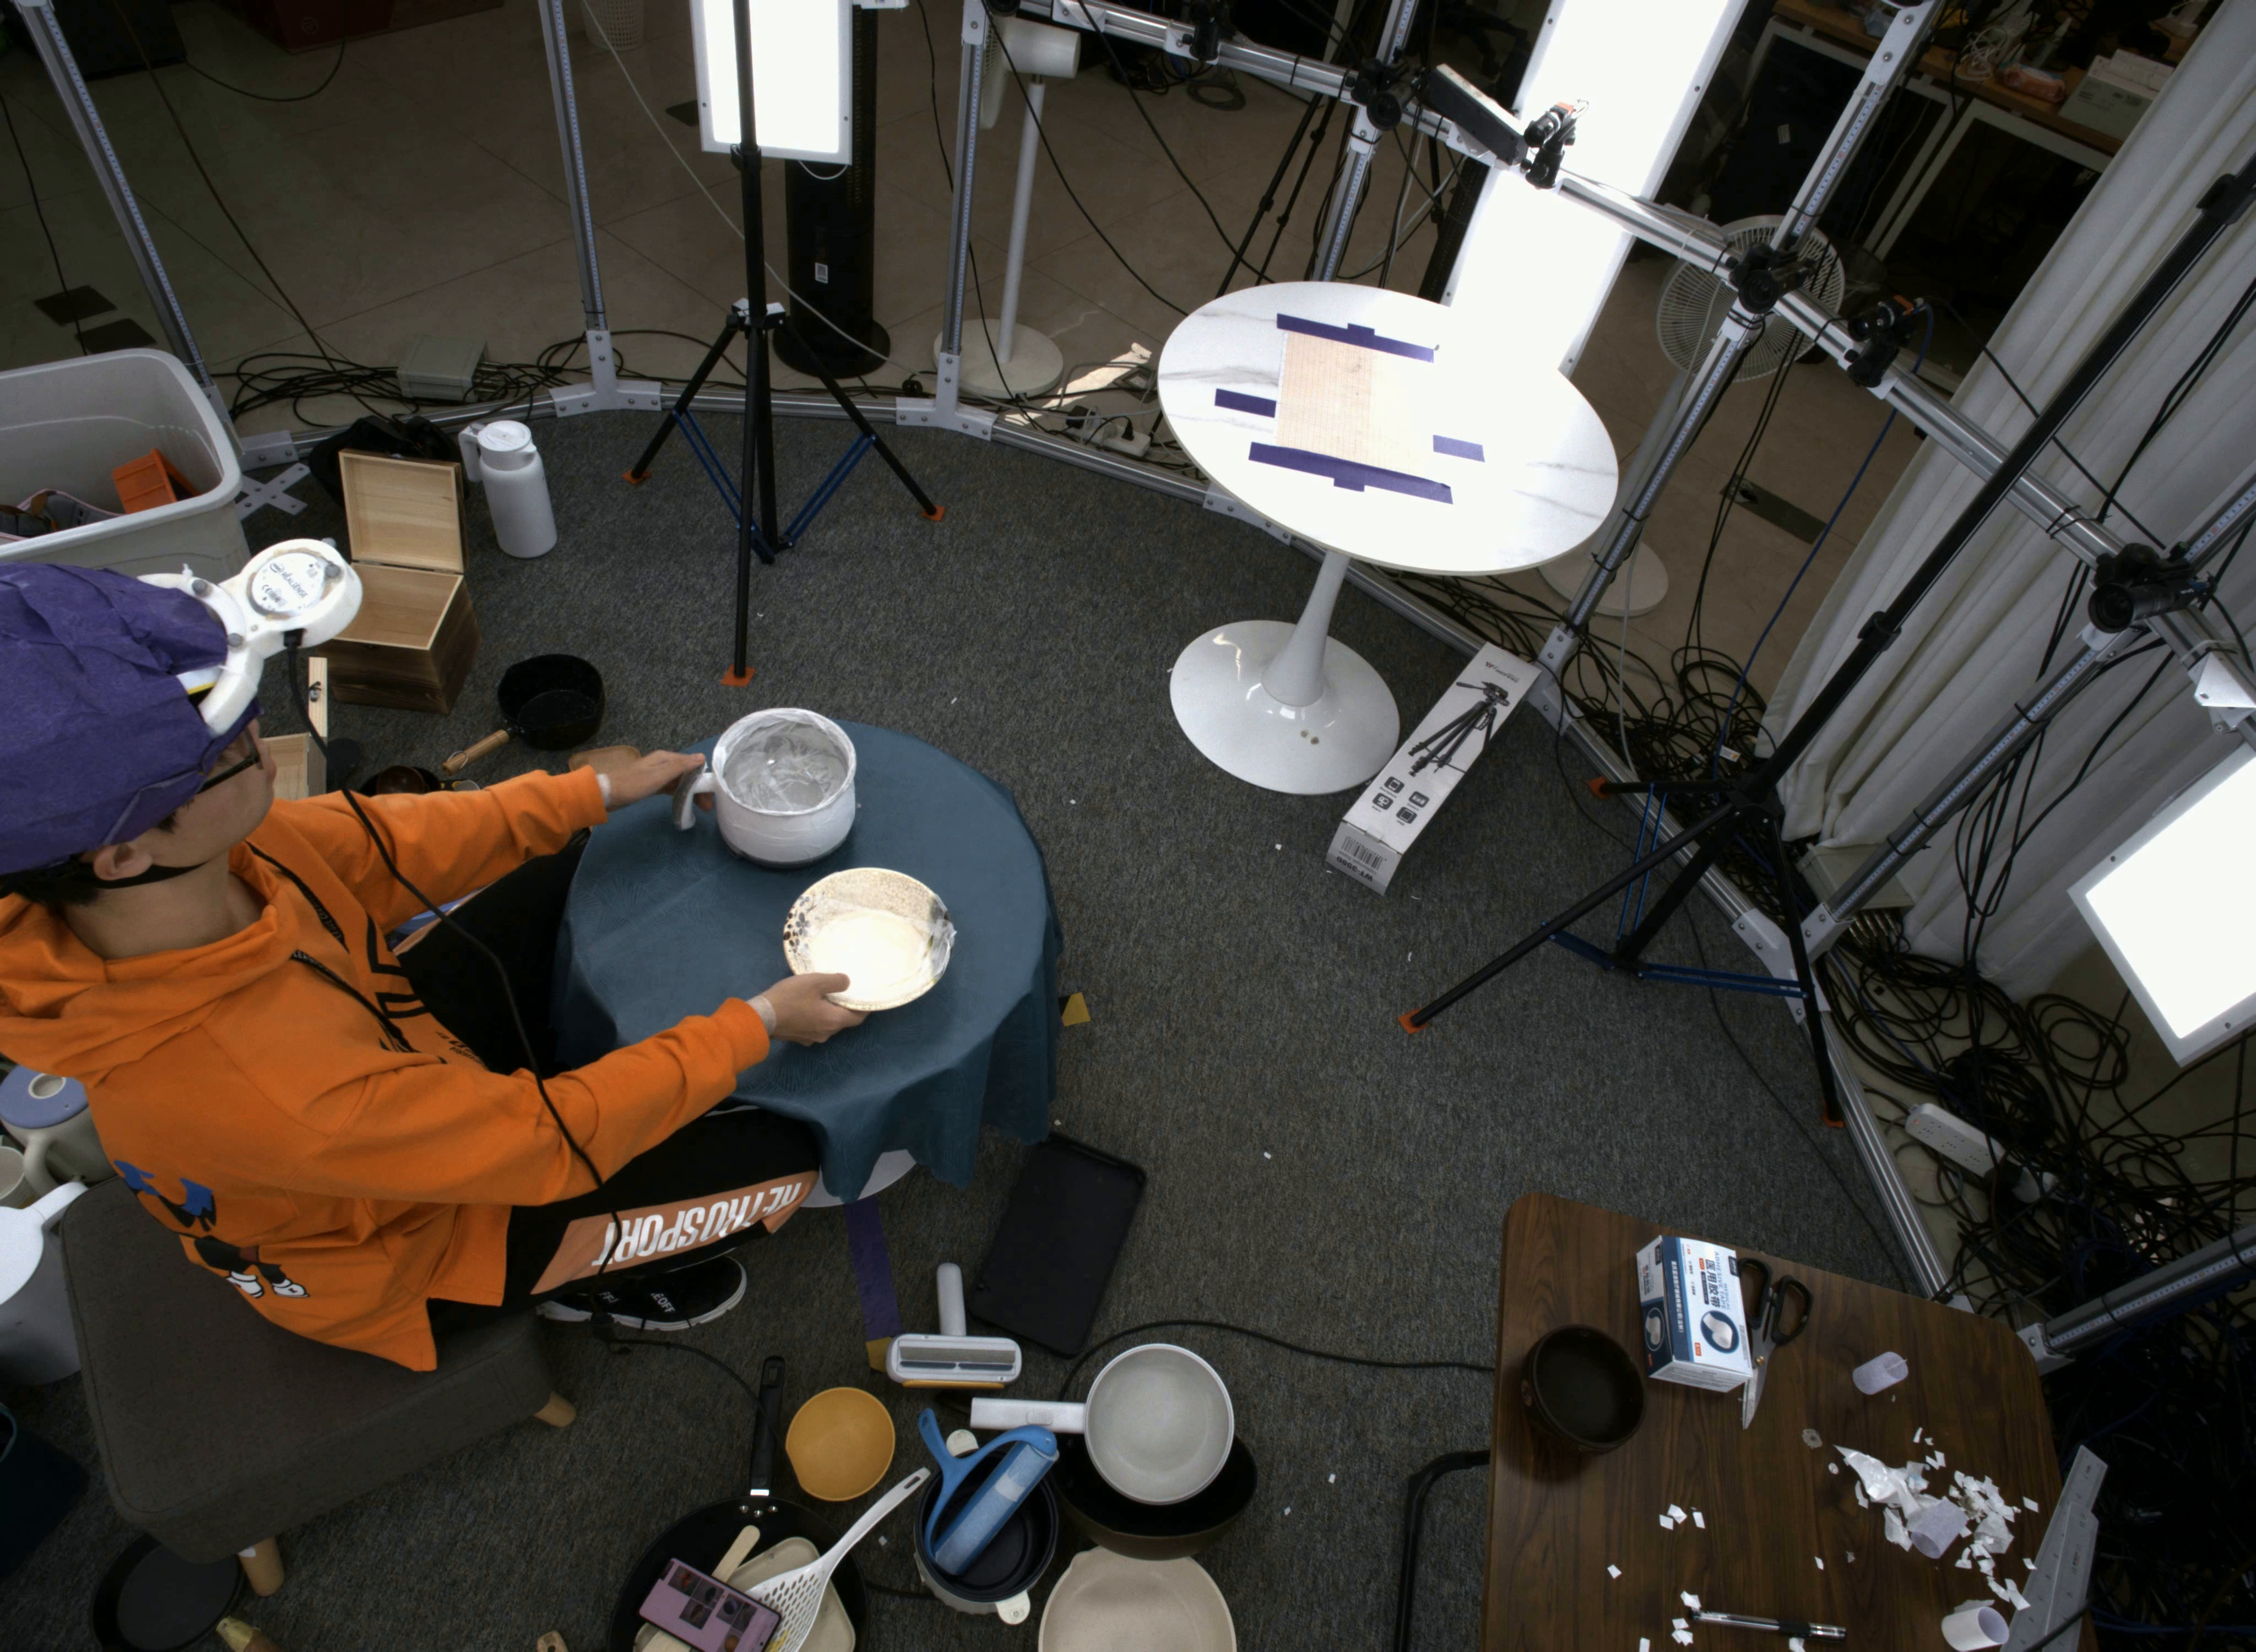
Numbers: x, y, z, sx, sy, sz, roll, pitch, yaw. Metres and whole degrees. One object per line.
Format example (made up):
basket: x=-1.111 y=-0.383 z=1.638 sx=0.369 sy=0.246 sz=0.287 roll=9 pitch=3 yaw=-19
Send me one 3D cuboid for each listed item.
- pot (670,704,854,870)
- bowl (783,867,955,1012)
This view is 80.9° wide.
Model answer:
pot: x=-0.466 y=-0.043 z=1.646 sx=0.234 sy=0.139 sz=0.174 roll=-5 pitch=54 yaw=-18
bowl: x=-0.313 y=0.152 z=1.581 sx=0.203 sy=0.079 sz=0.200 roll=7 pitch=54 yaw=-8
